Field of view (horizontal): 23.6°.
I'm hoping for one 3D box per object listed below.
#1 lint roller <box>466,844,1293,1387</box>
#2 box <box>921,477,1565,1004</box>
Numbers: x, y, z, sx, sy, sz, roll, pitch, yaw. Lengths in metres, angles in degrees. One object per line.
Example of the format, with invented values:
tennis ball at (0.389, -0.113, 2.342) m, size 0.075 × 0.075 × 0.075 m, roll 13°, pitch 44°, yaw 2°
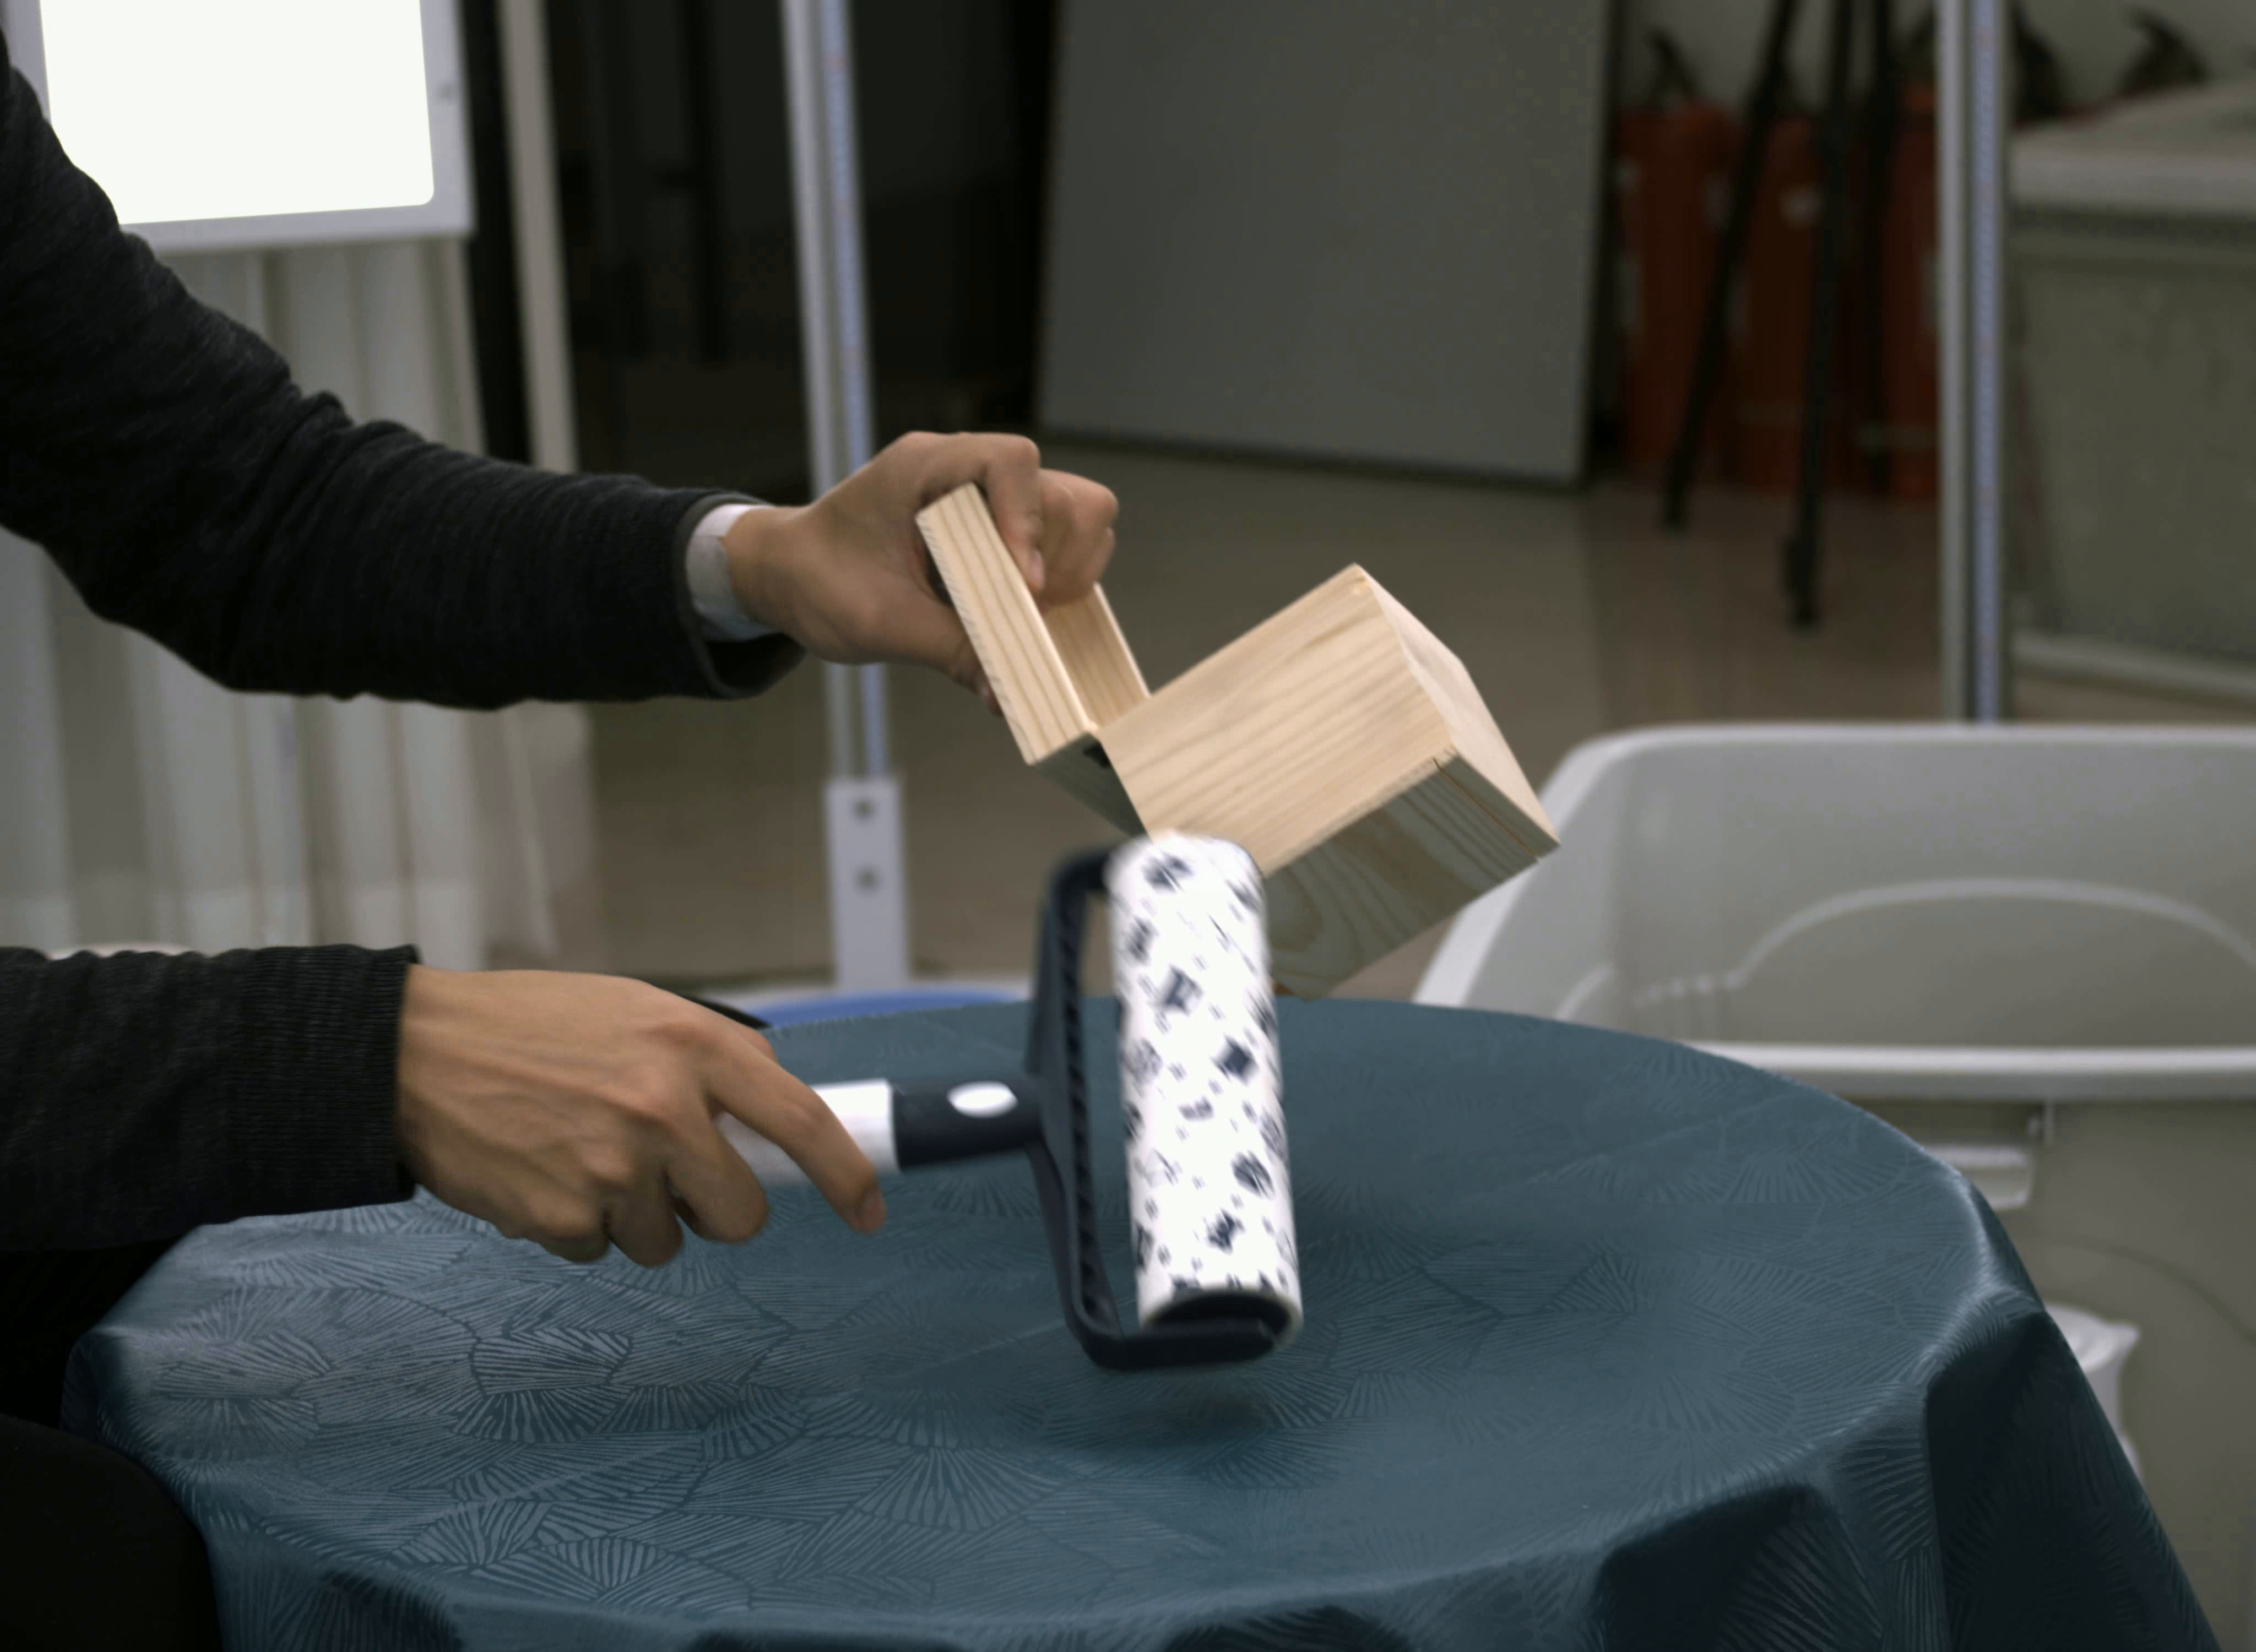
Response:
lint roller at (-0.076, 0.092, 1.599) m, size 0.244 × 0.050 × 0.178 m, roll -5°, pitch 53°, yaw 3°
box at (0.038, -0.051, 1.754) m, size 0.134 × 0.187 × 0.101 m, roll -34°, pitch -28°, yaw 12°
